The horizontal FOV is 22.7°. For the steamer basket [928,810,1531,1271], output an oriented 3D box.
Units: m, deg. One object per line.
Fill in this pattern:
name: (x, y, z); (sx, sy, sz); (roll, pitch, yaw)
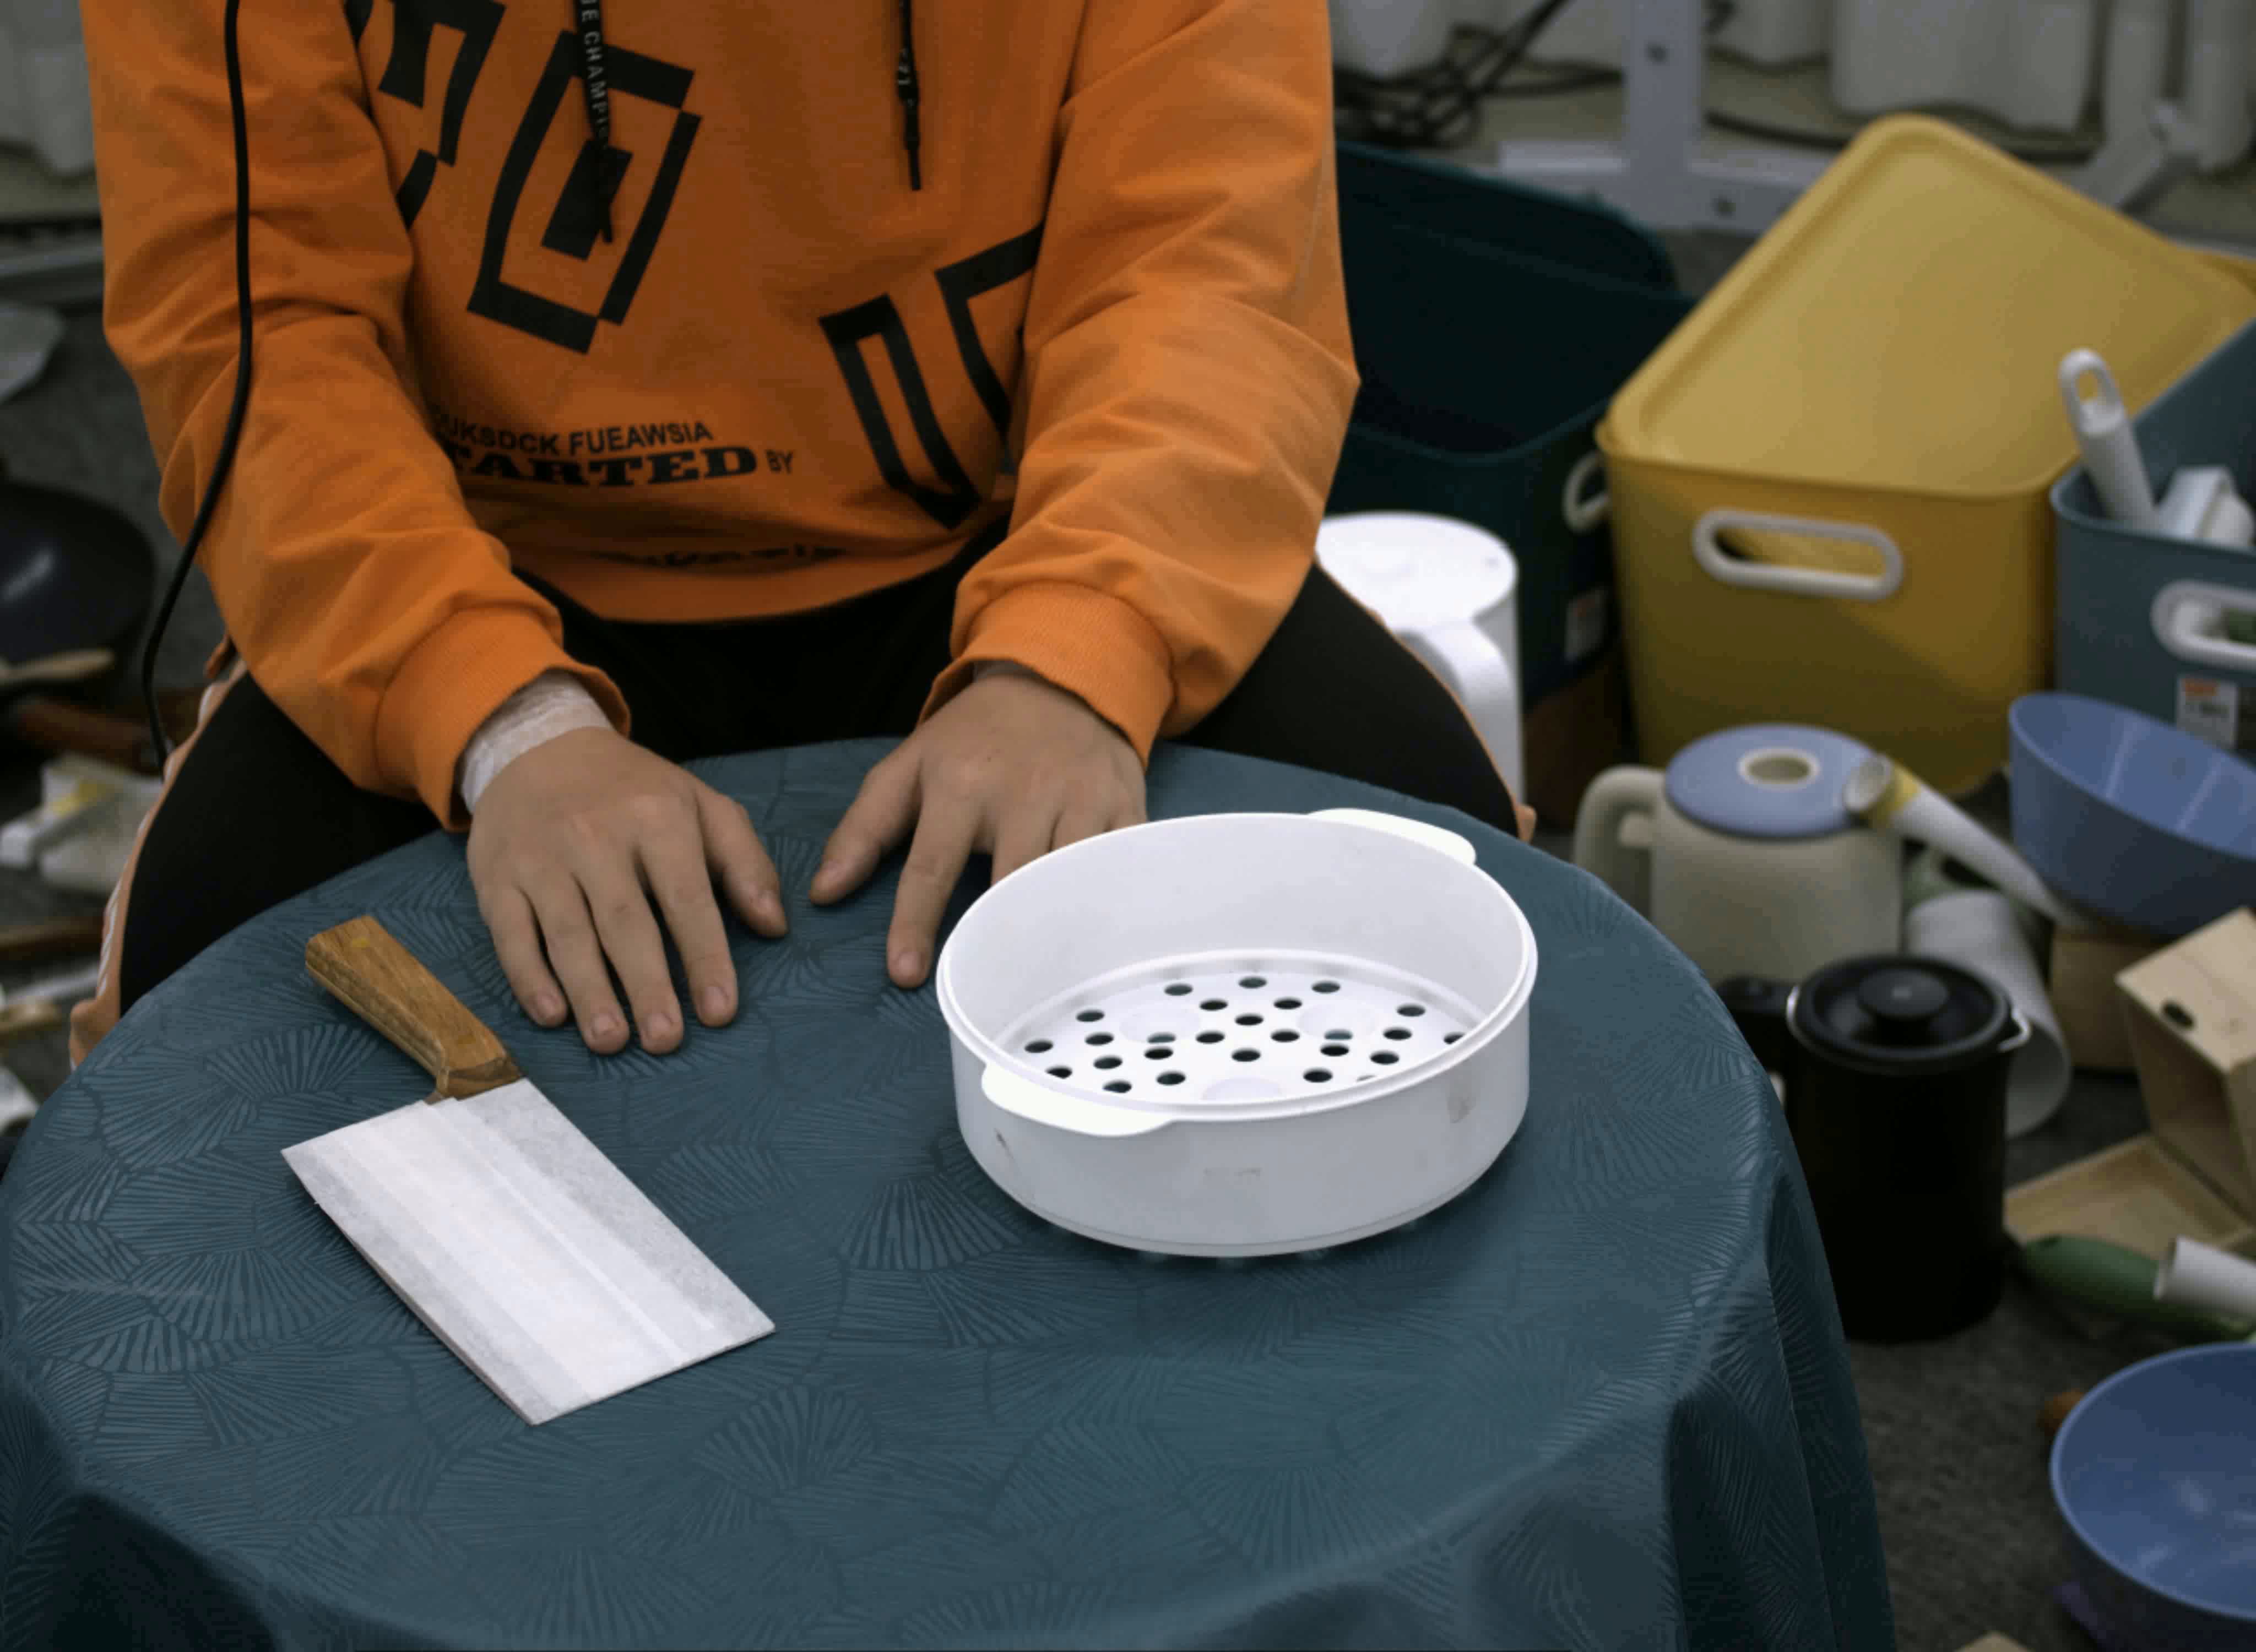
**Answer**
steamer basket: (0.035, 0.073, 1.879); (0.201, 0.068, 0.234); (14, 33, 30)

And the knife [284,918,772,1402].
knife: (-0.228, 0.112, 1.887); (0.093, 0.021, 0.307); (-19, 34, -26)
